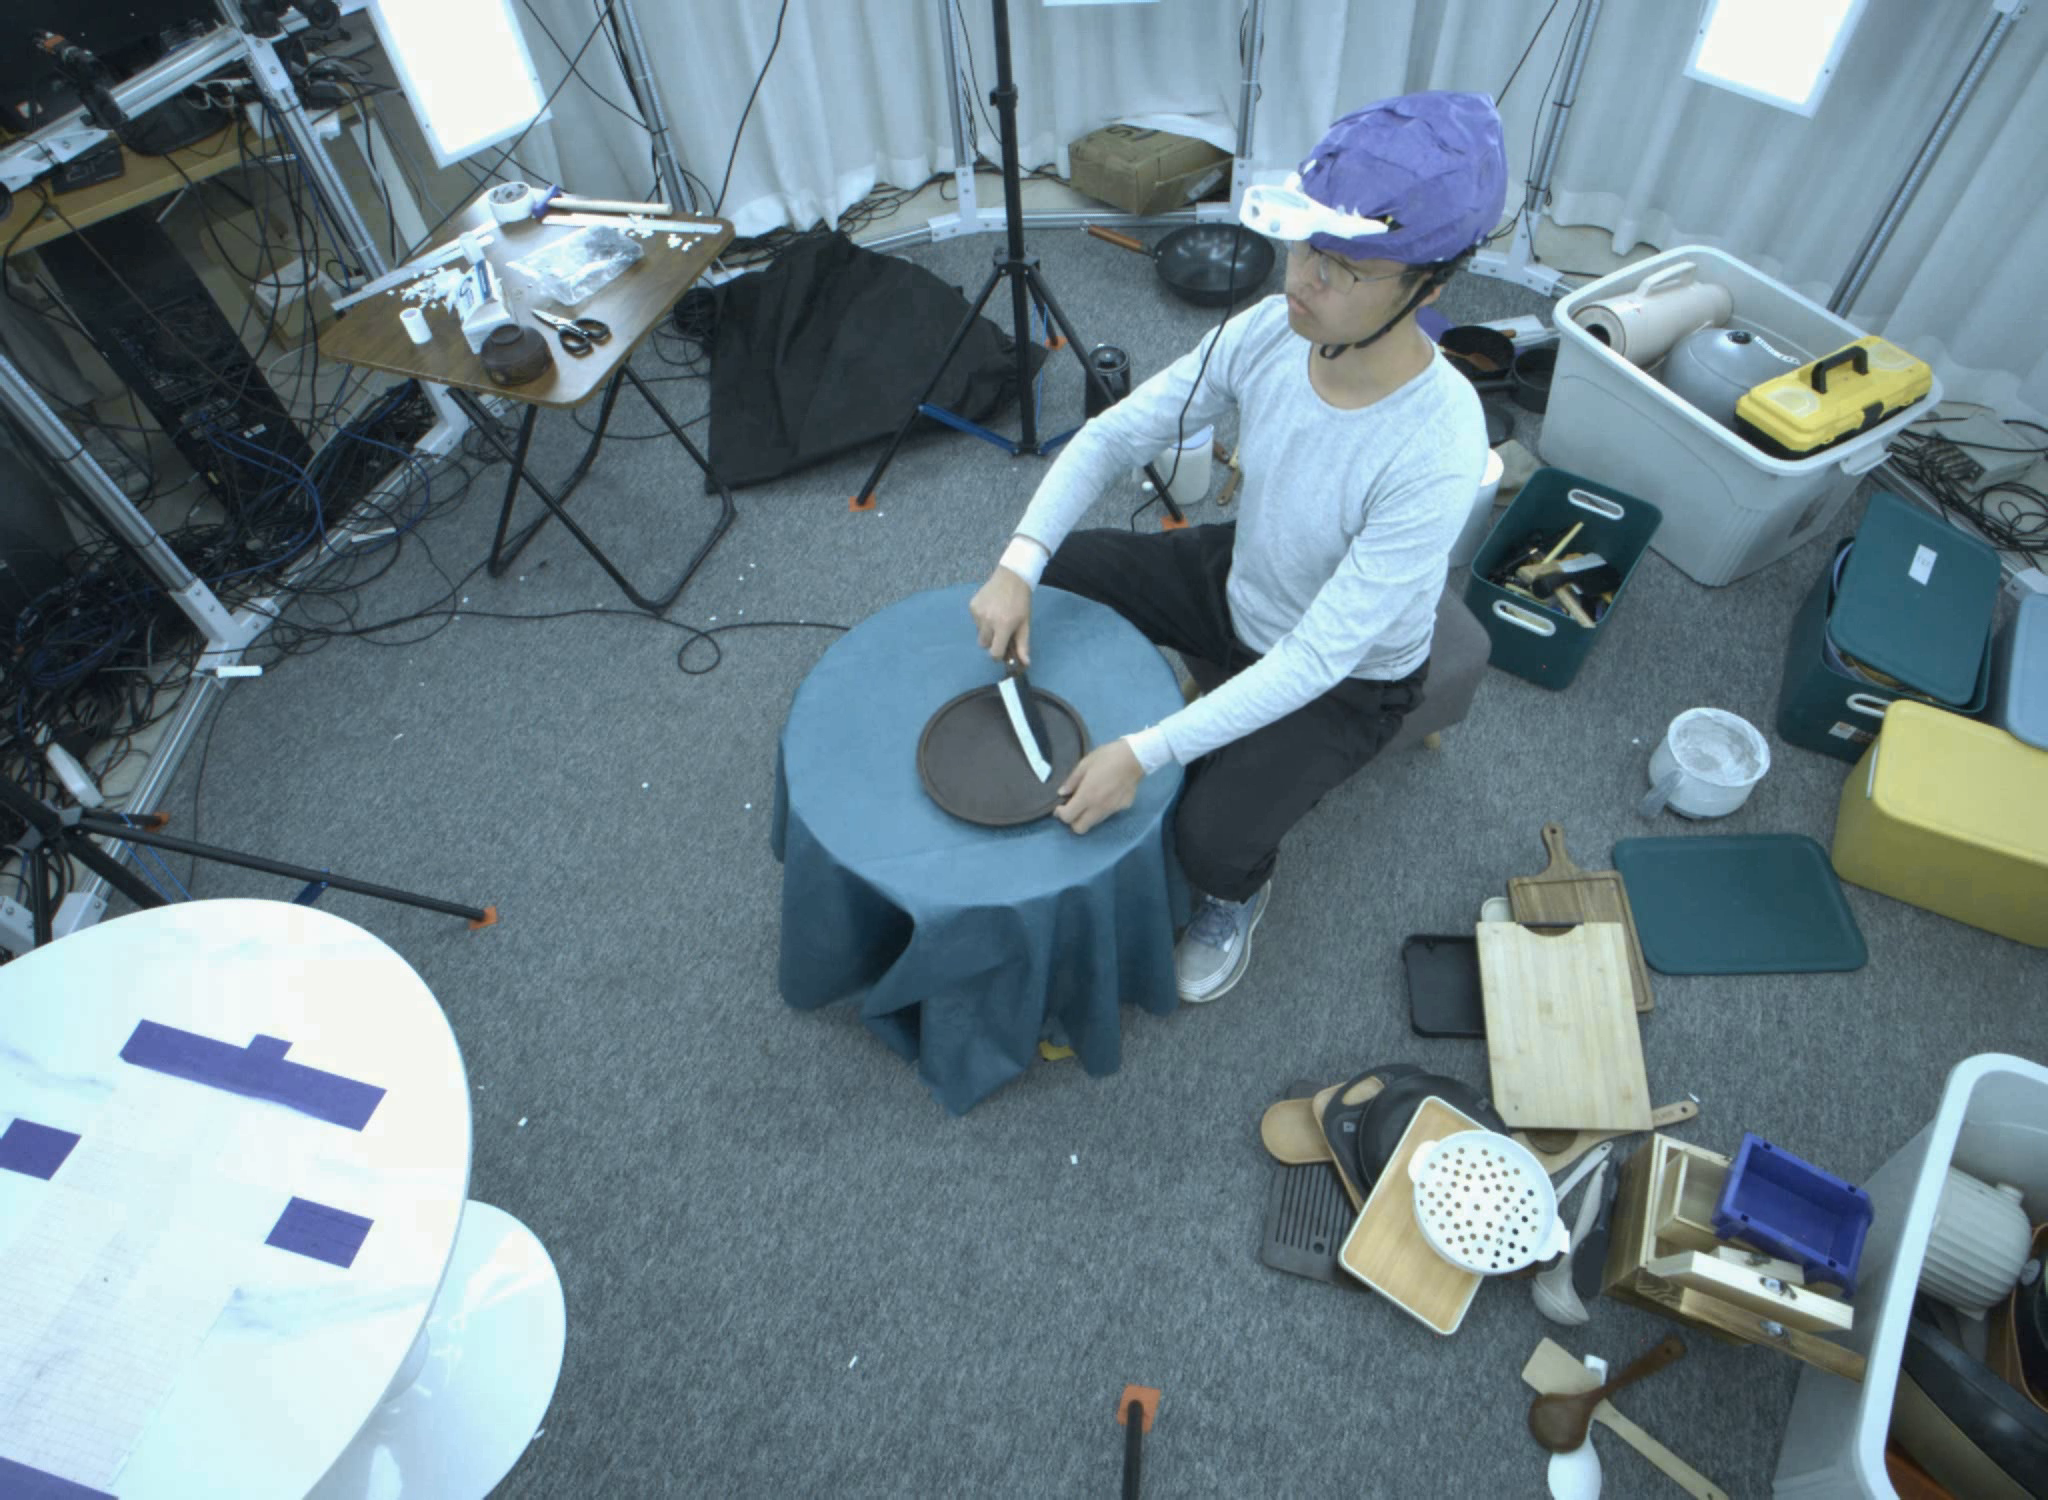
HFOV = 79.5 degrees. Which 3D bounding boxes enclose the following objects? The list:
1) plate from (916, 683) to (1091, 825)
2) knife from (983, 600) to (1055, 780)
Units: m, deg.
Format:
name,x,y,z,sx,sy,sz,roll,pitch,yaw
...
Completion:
name,x,y,z,sx,sy,sz,roll,pitch,yaw
plate,-0.030,0.004,1.777,0.255,0.029,0.252,0,52,1
knife,-0.009,-0.089,1.785,0.050,0.020,0.286,-23,73,16
